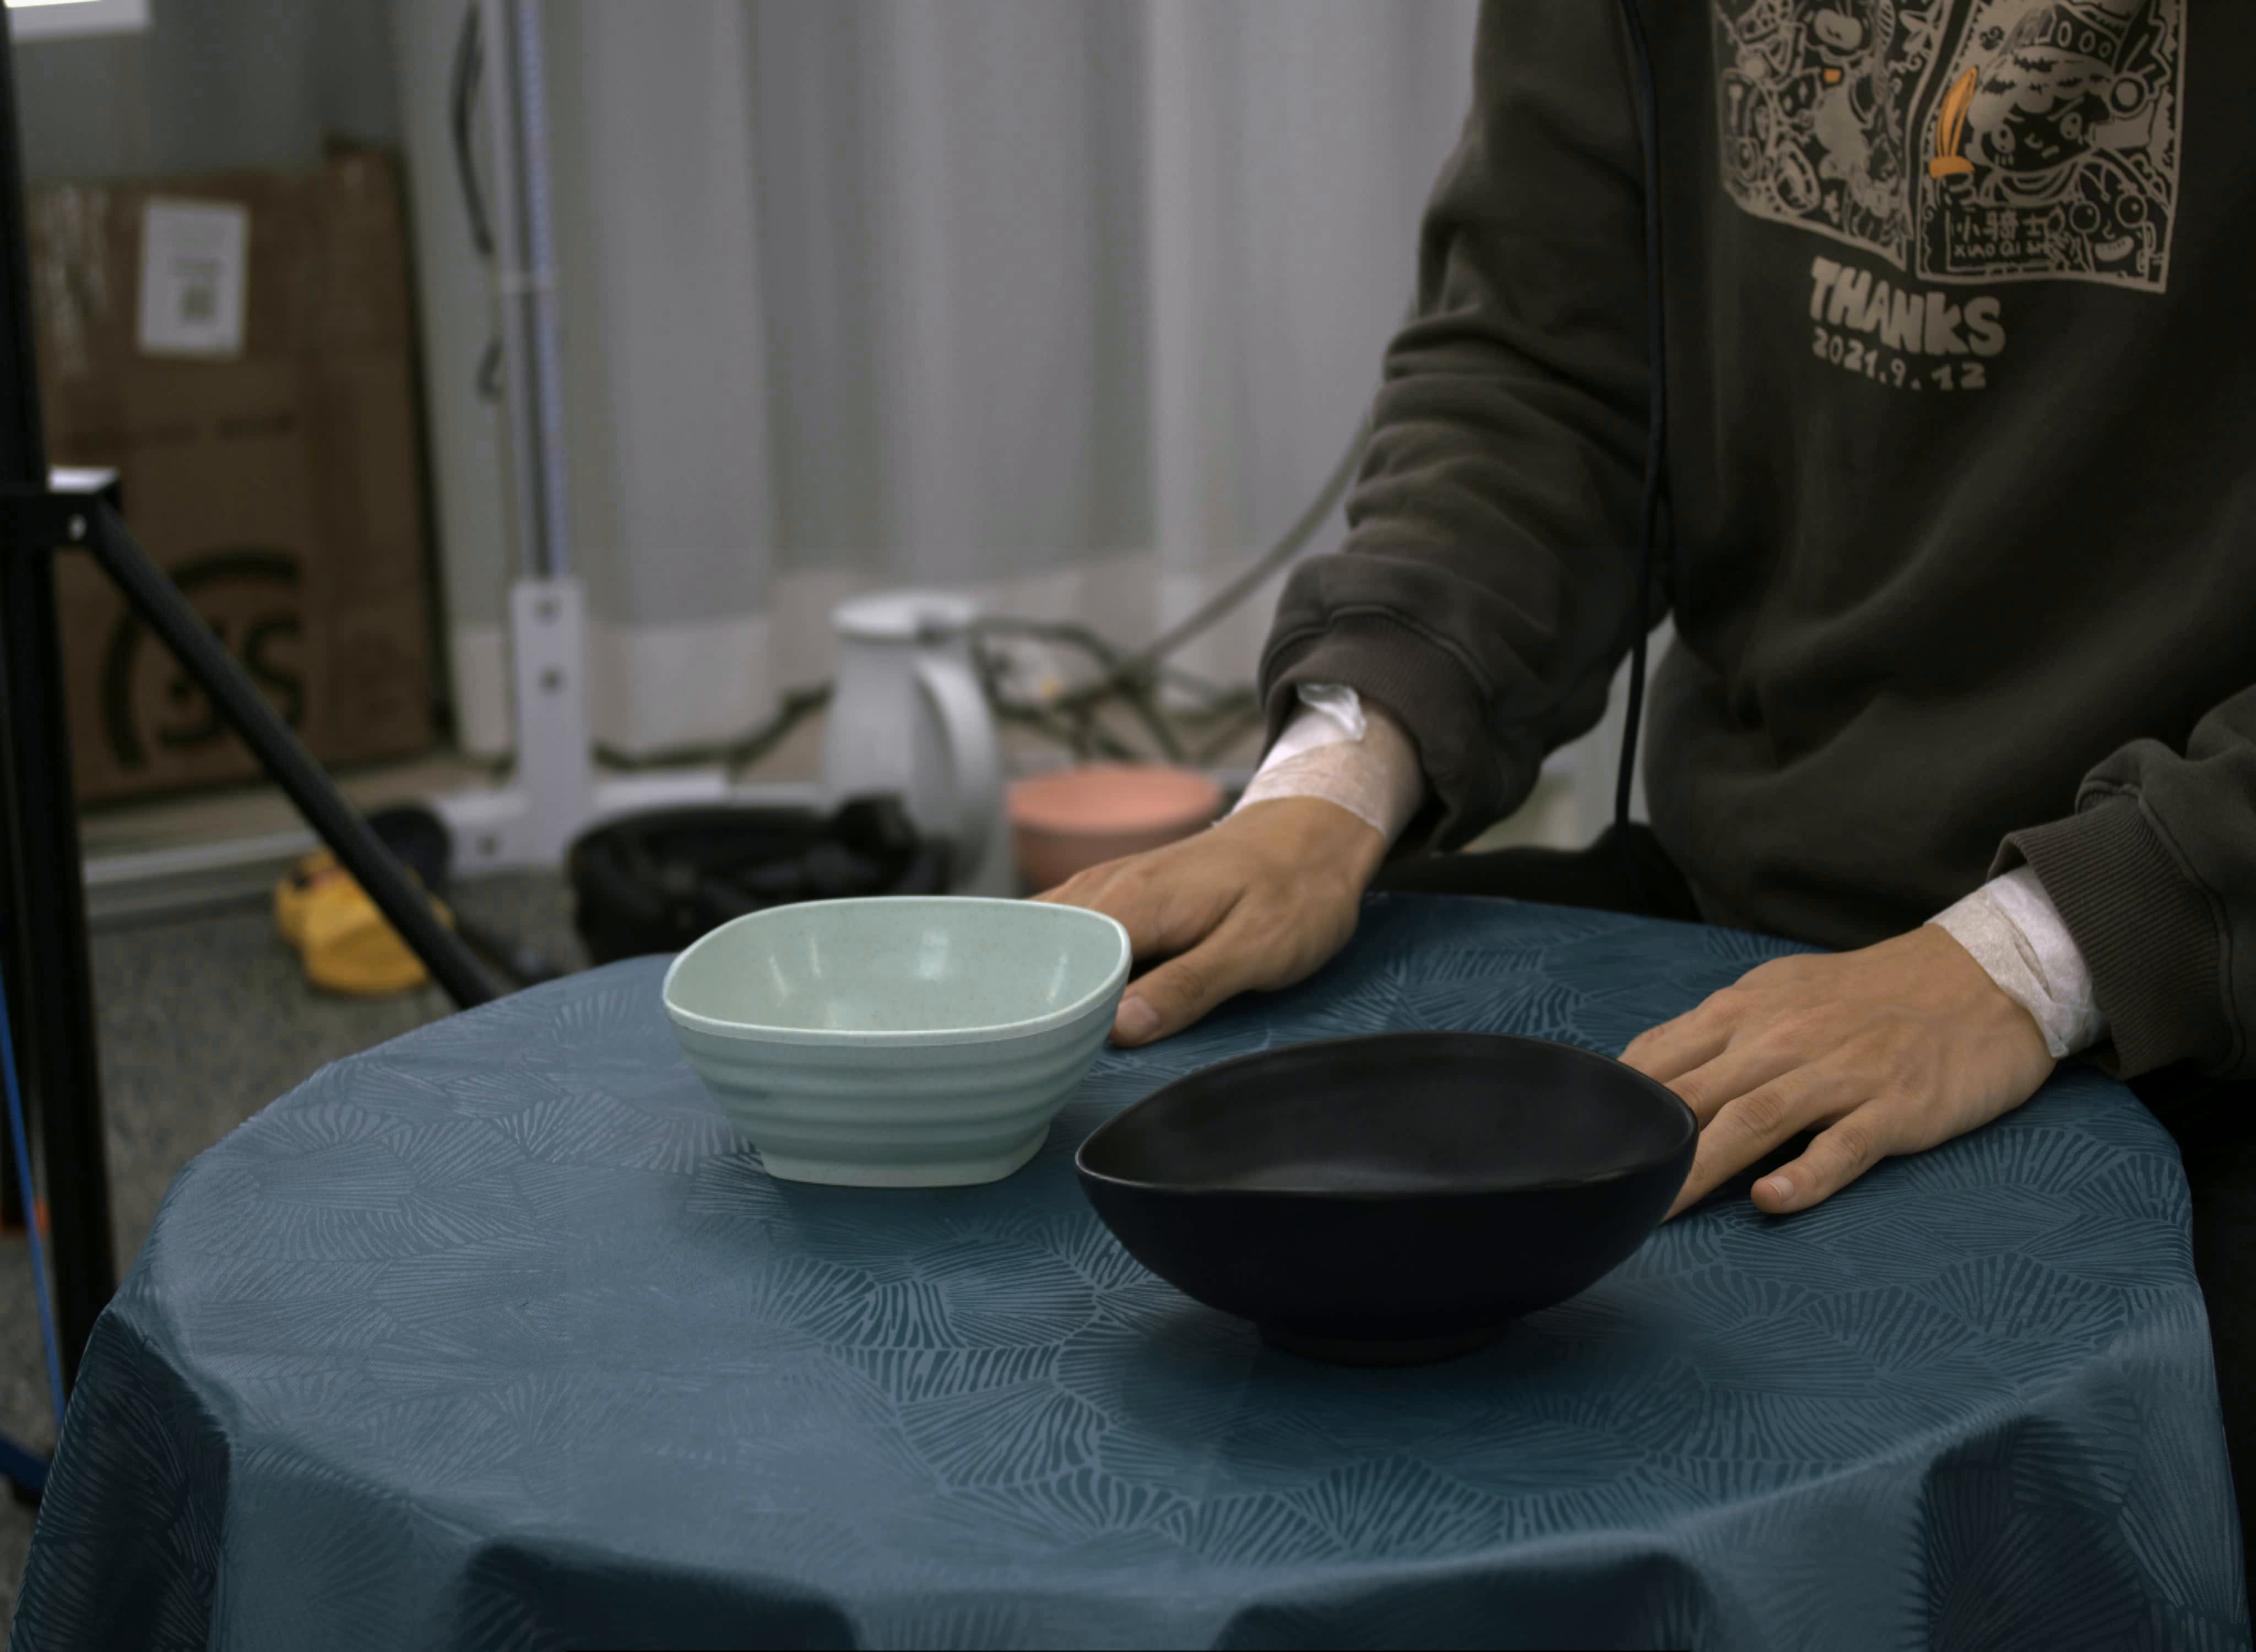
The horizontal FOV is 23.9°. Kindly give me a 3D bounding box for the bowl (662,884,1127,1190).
[{"bbox_3d":[-0.068,0.067,1.611,0.151,0.058,0.152,-4,18,0],"label":"bowl"}]

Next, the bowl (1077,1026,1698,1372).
[{"bbox_3d":[0.070,0.107,1.438,0.171,0.066,0.137,-1,15,9],"label":"bowl"}]
